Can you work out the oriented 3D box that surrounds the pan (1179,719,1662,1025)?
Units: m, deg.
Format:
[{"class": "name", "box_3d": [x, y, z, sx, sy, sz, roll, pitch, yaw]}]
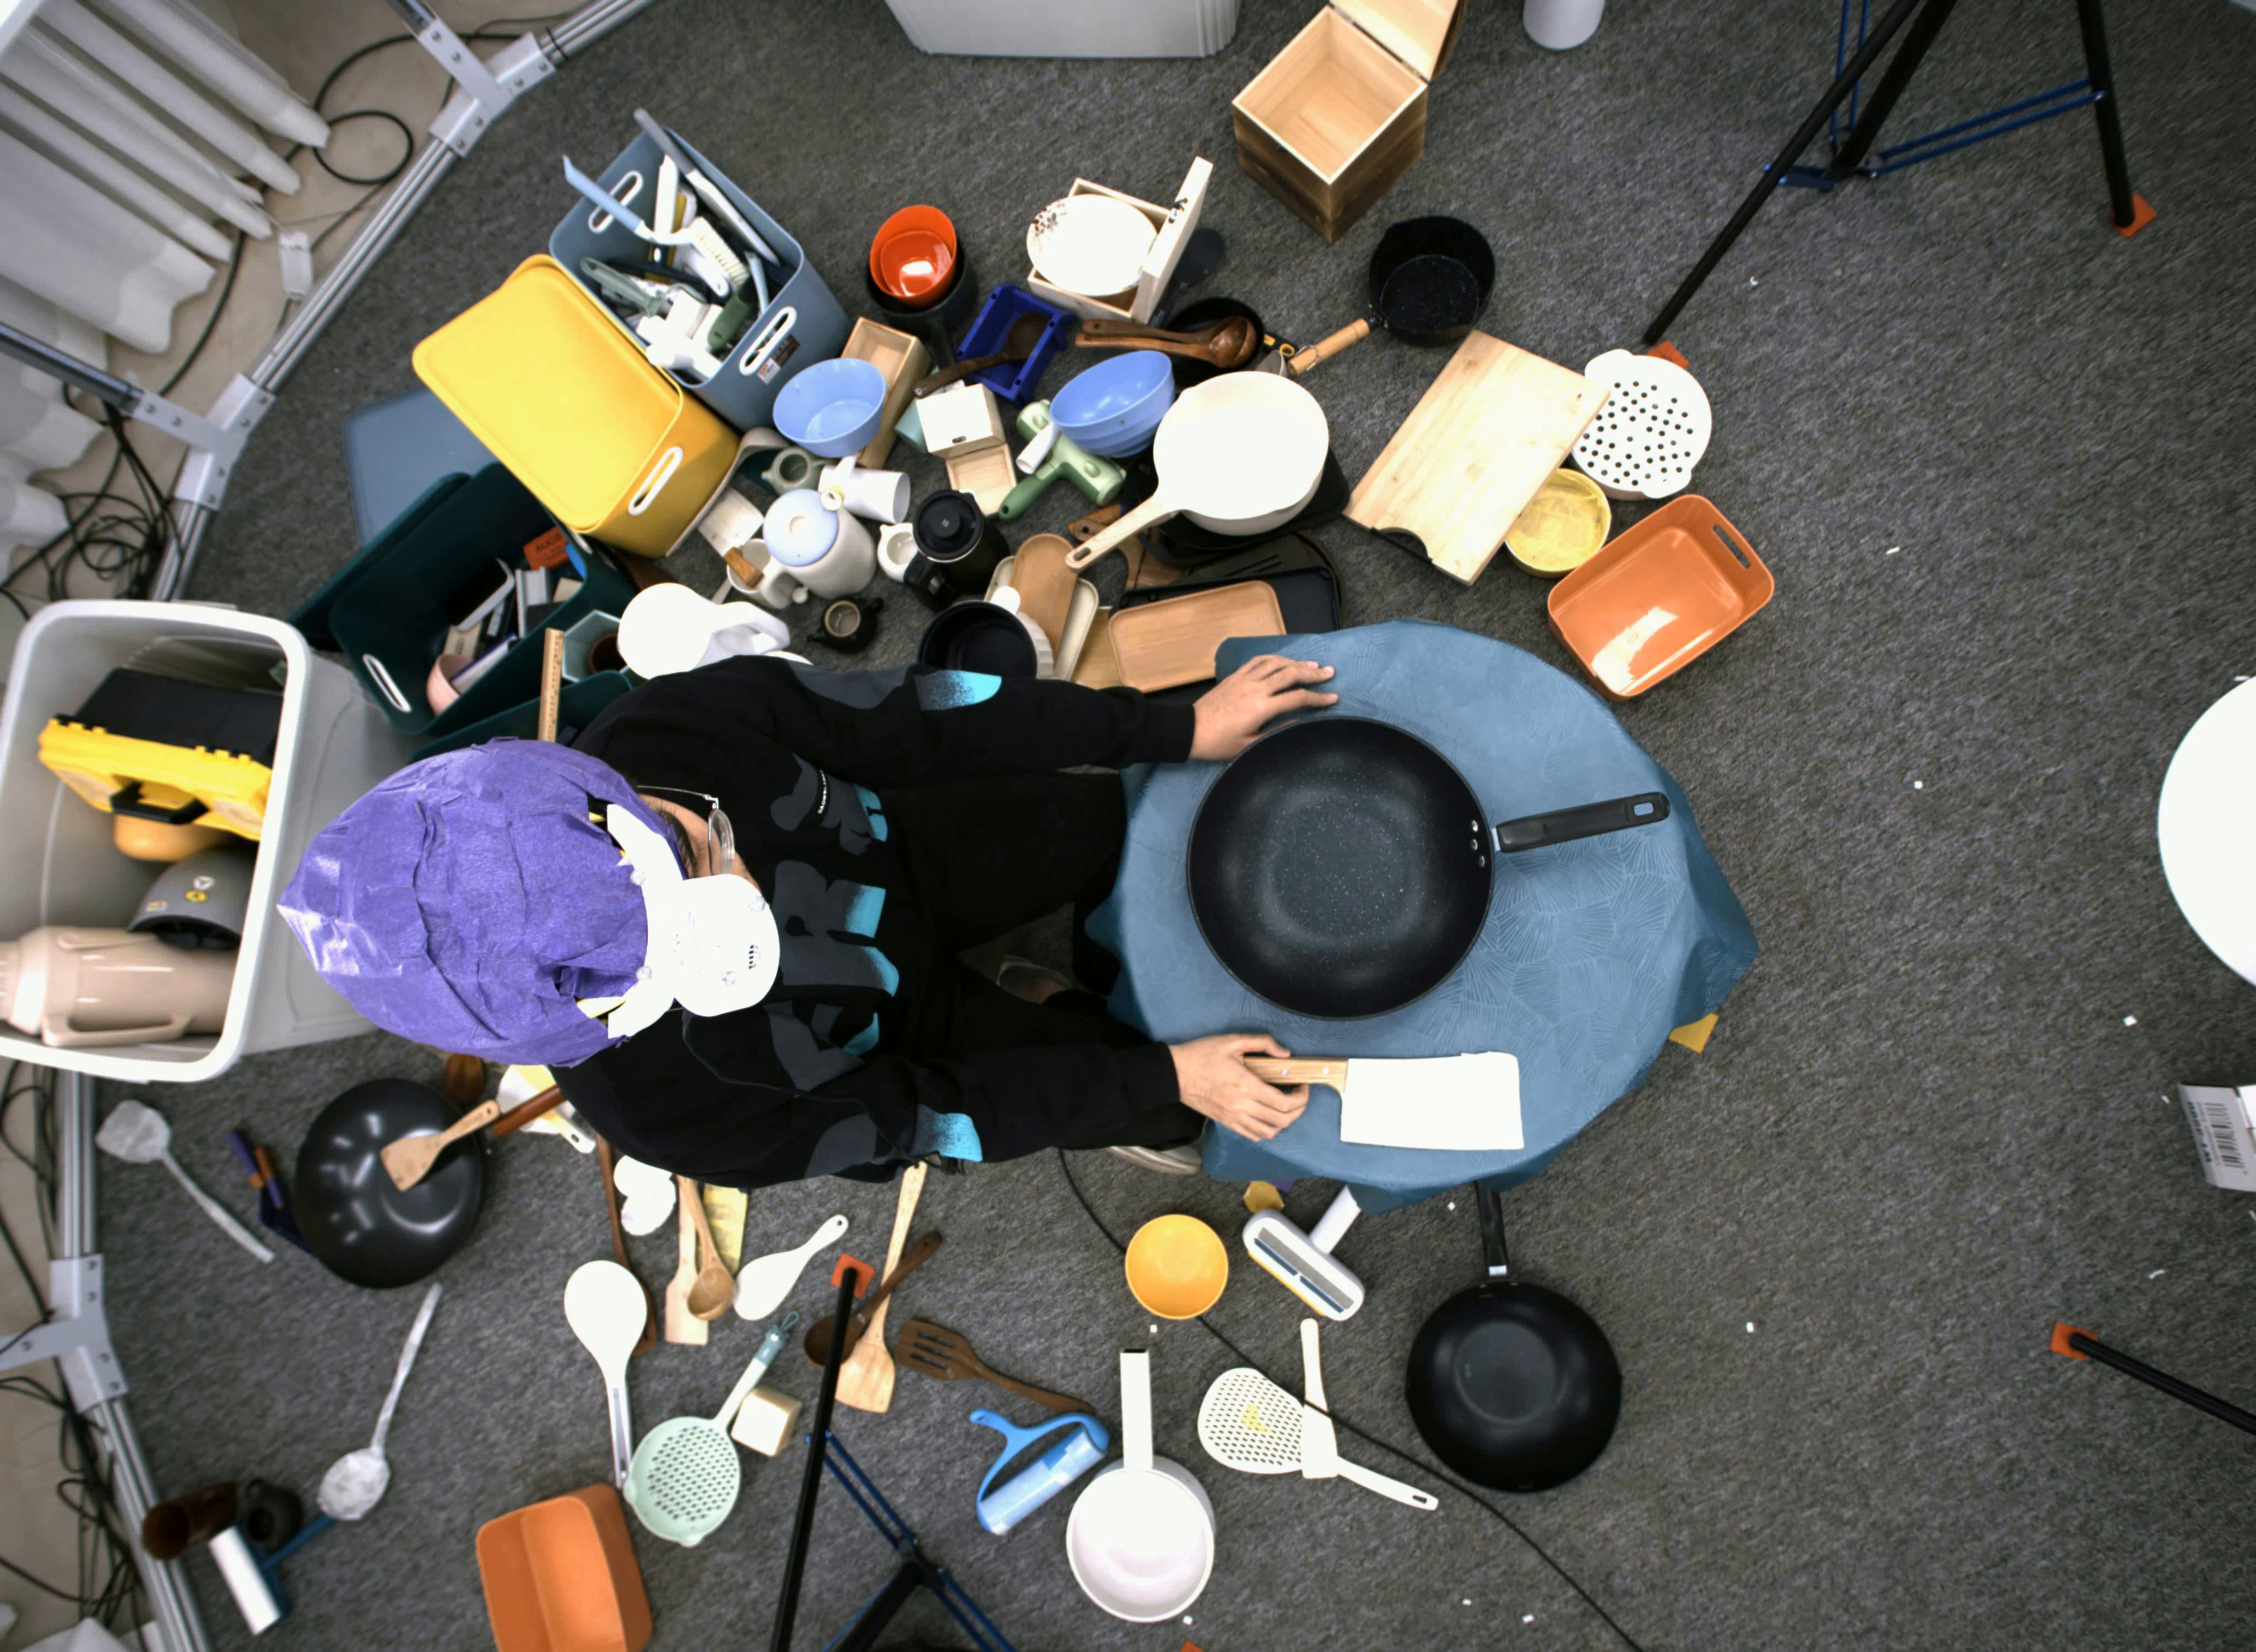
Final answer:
[{"class": "pan", "box_3d": [0.290, 0.030, 1.405, 0.479, 0.111, 0.309, -11, 86, 10]}]

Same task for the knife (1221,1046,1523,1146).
[{"class": "knife", "box_3d": [0.254, 0.274, 1.443, 0.316, 0.022, 0.113, 4, 88, 8]}]
